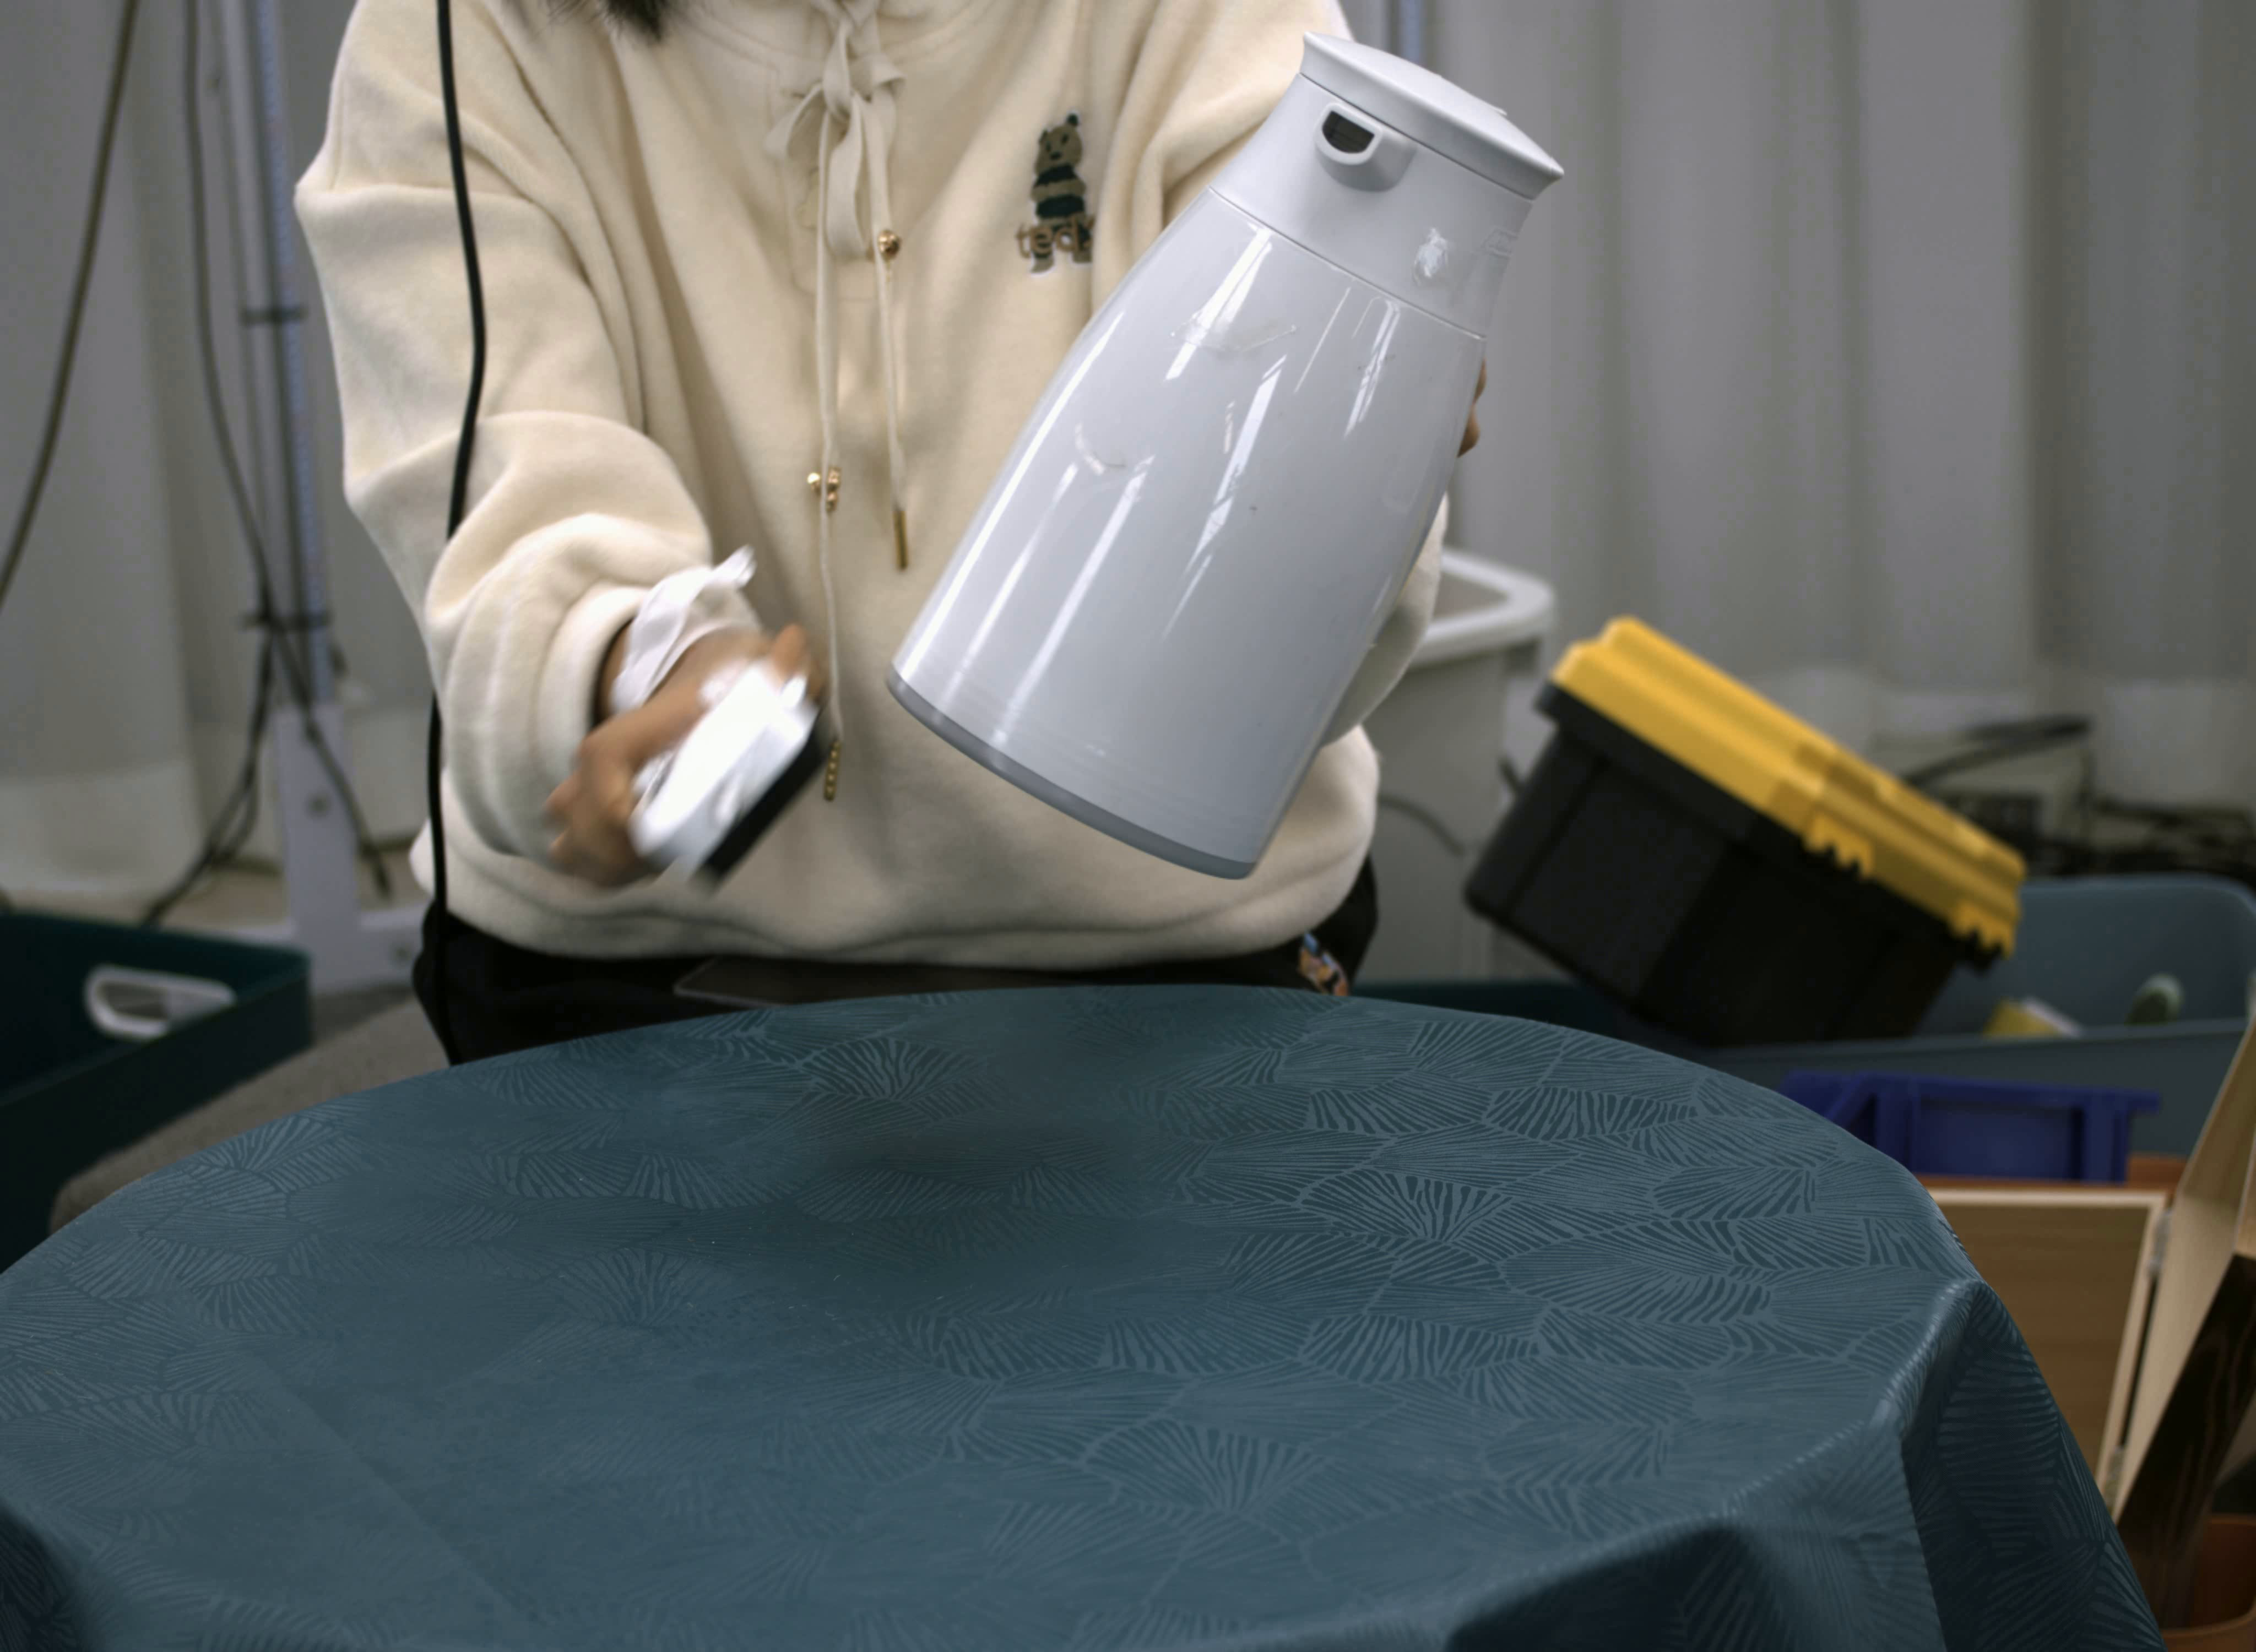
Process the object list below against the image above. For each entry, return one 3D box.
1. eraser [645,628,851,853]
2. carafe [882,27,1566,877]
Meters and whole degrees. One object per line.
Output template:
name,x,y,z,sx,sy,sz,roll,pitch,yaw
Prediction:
eraser,-0.116,-0.026,1.674,0.063,0.034,0.131,-47,7,-1
carafe,0.044,-0.124,1.725,0.133,0.248,0.167,31,8,15
